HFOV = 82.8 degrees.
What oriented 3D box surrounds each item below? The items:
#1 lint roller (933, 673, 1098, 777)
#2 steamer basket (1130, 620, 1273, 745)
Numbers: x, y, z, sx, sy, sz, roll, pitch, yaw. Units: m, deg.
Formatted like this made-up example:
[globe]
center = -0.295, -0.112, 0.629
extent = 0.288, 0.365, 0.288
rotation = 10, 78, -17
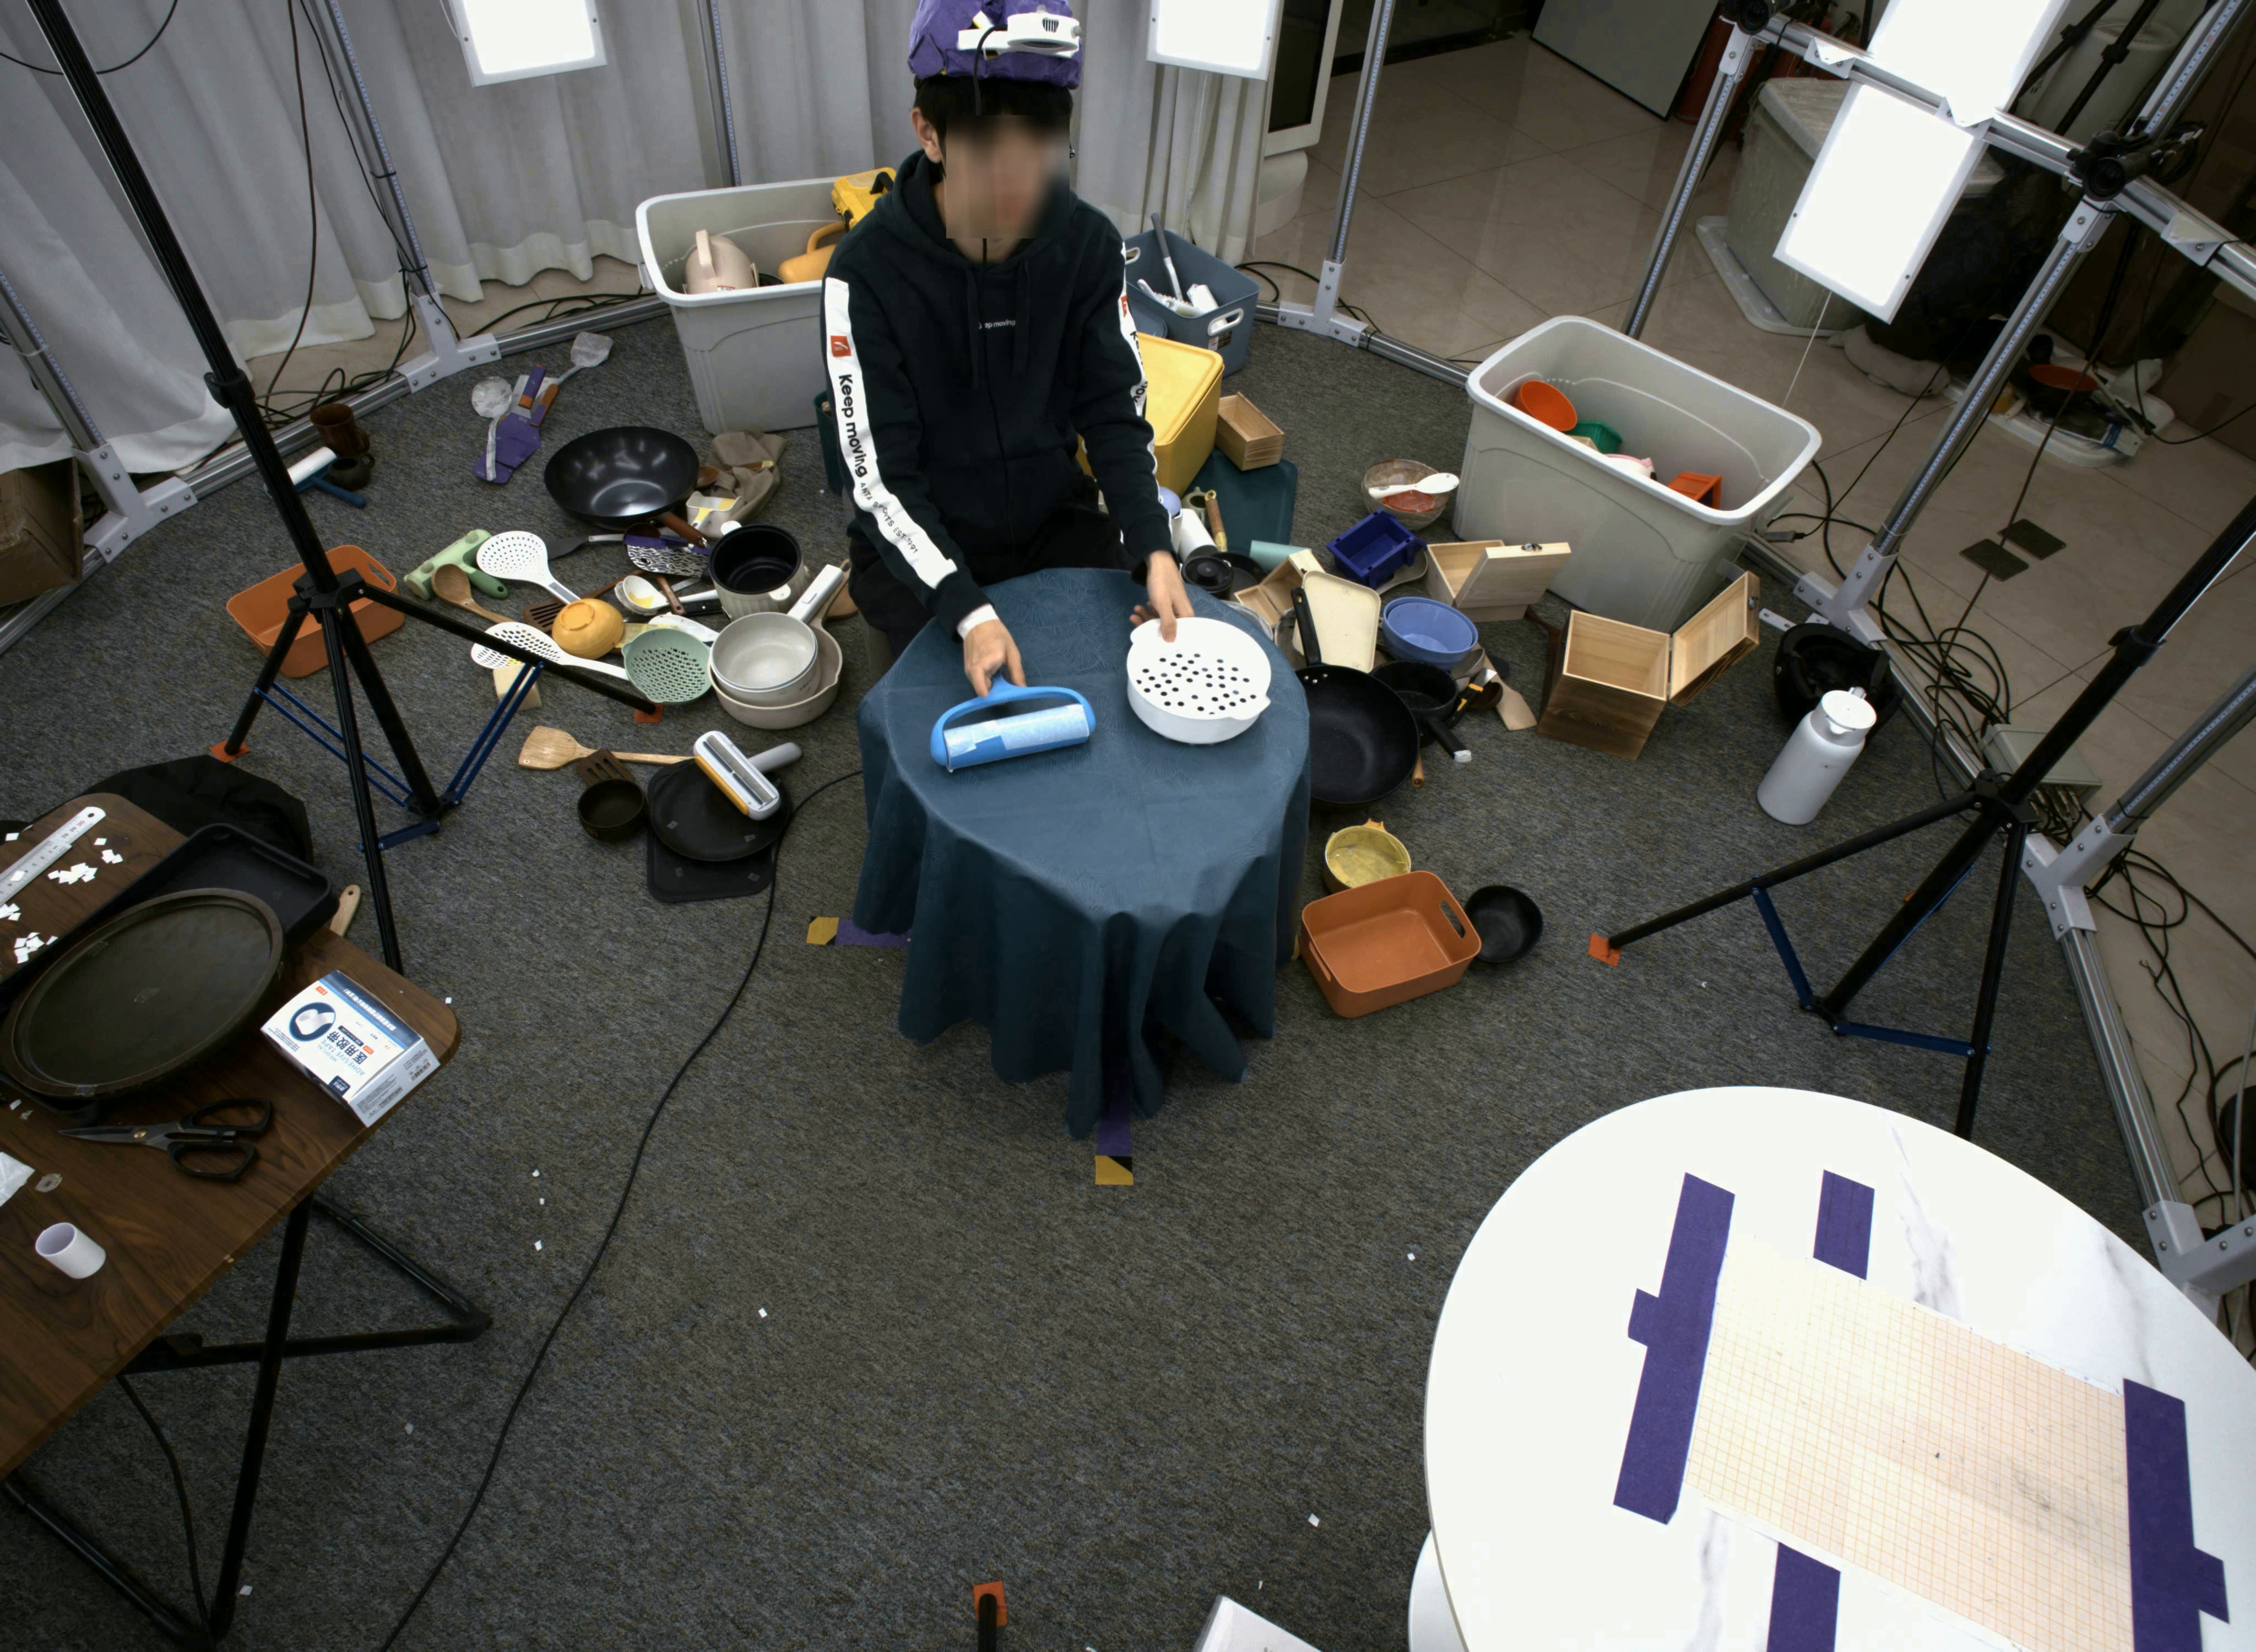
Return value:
[lint roller]
center = -0.173, -0.162, 1.762
extent = 0.229, 0.066, 0.184
rotation = -19, 54, -15
[steamer basket]
center = 0.101, -0.201, 1.803
extent = 0.203, 0.067, 0.234
rotation = -34, 58, -29
